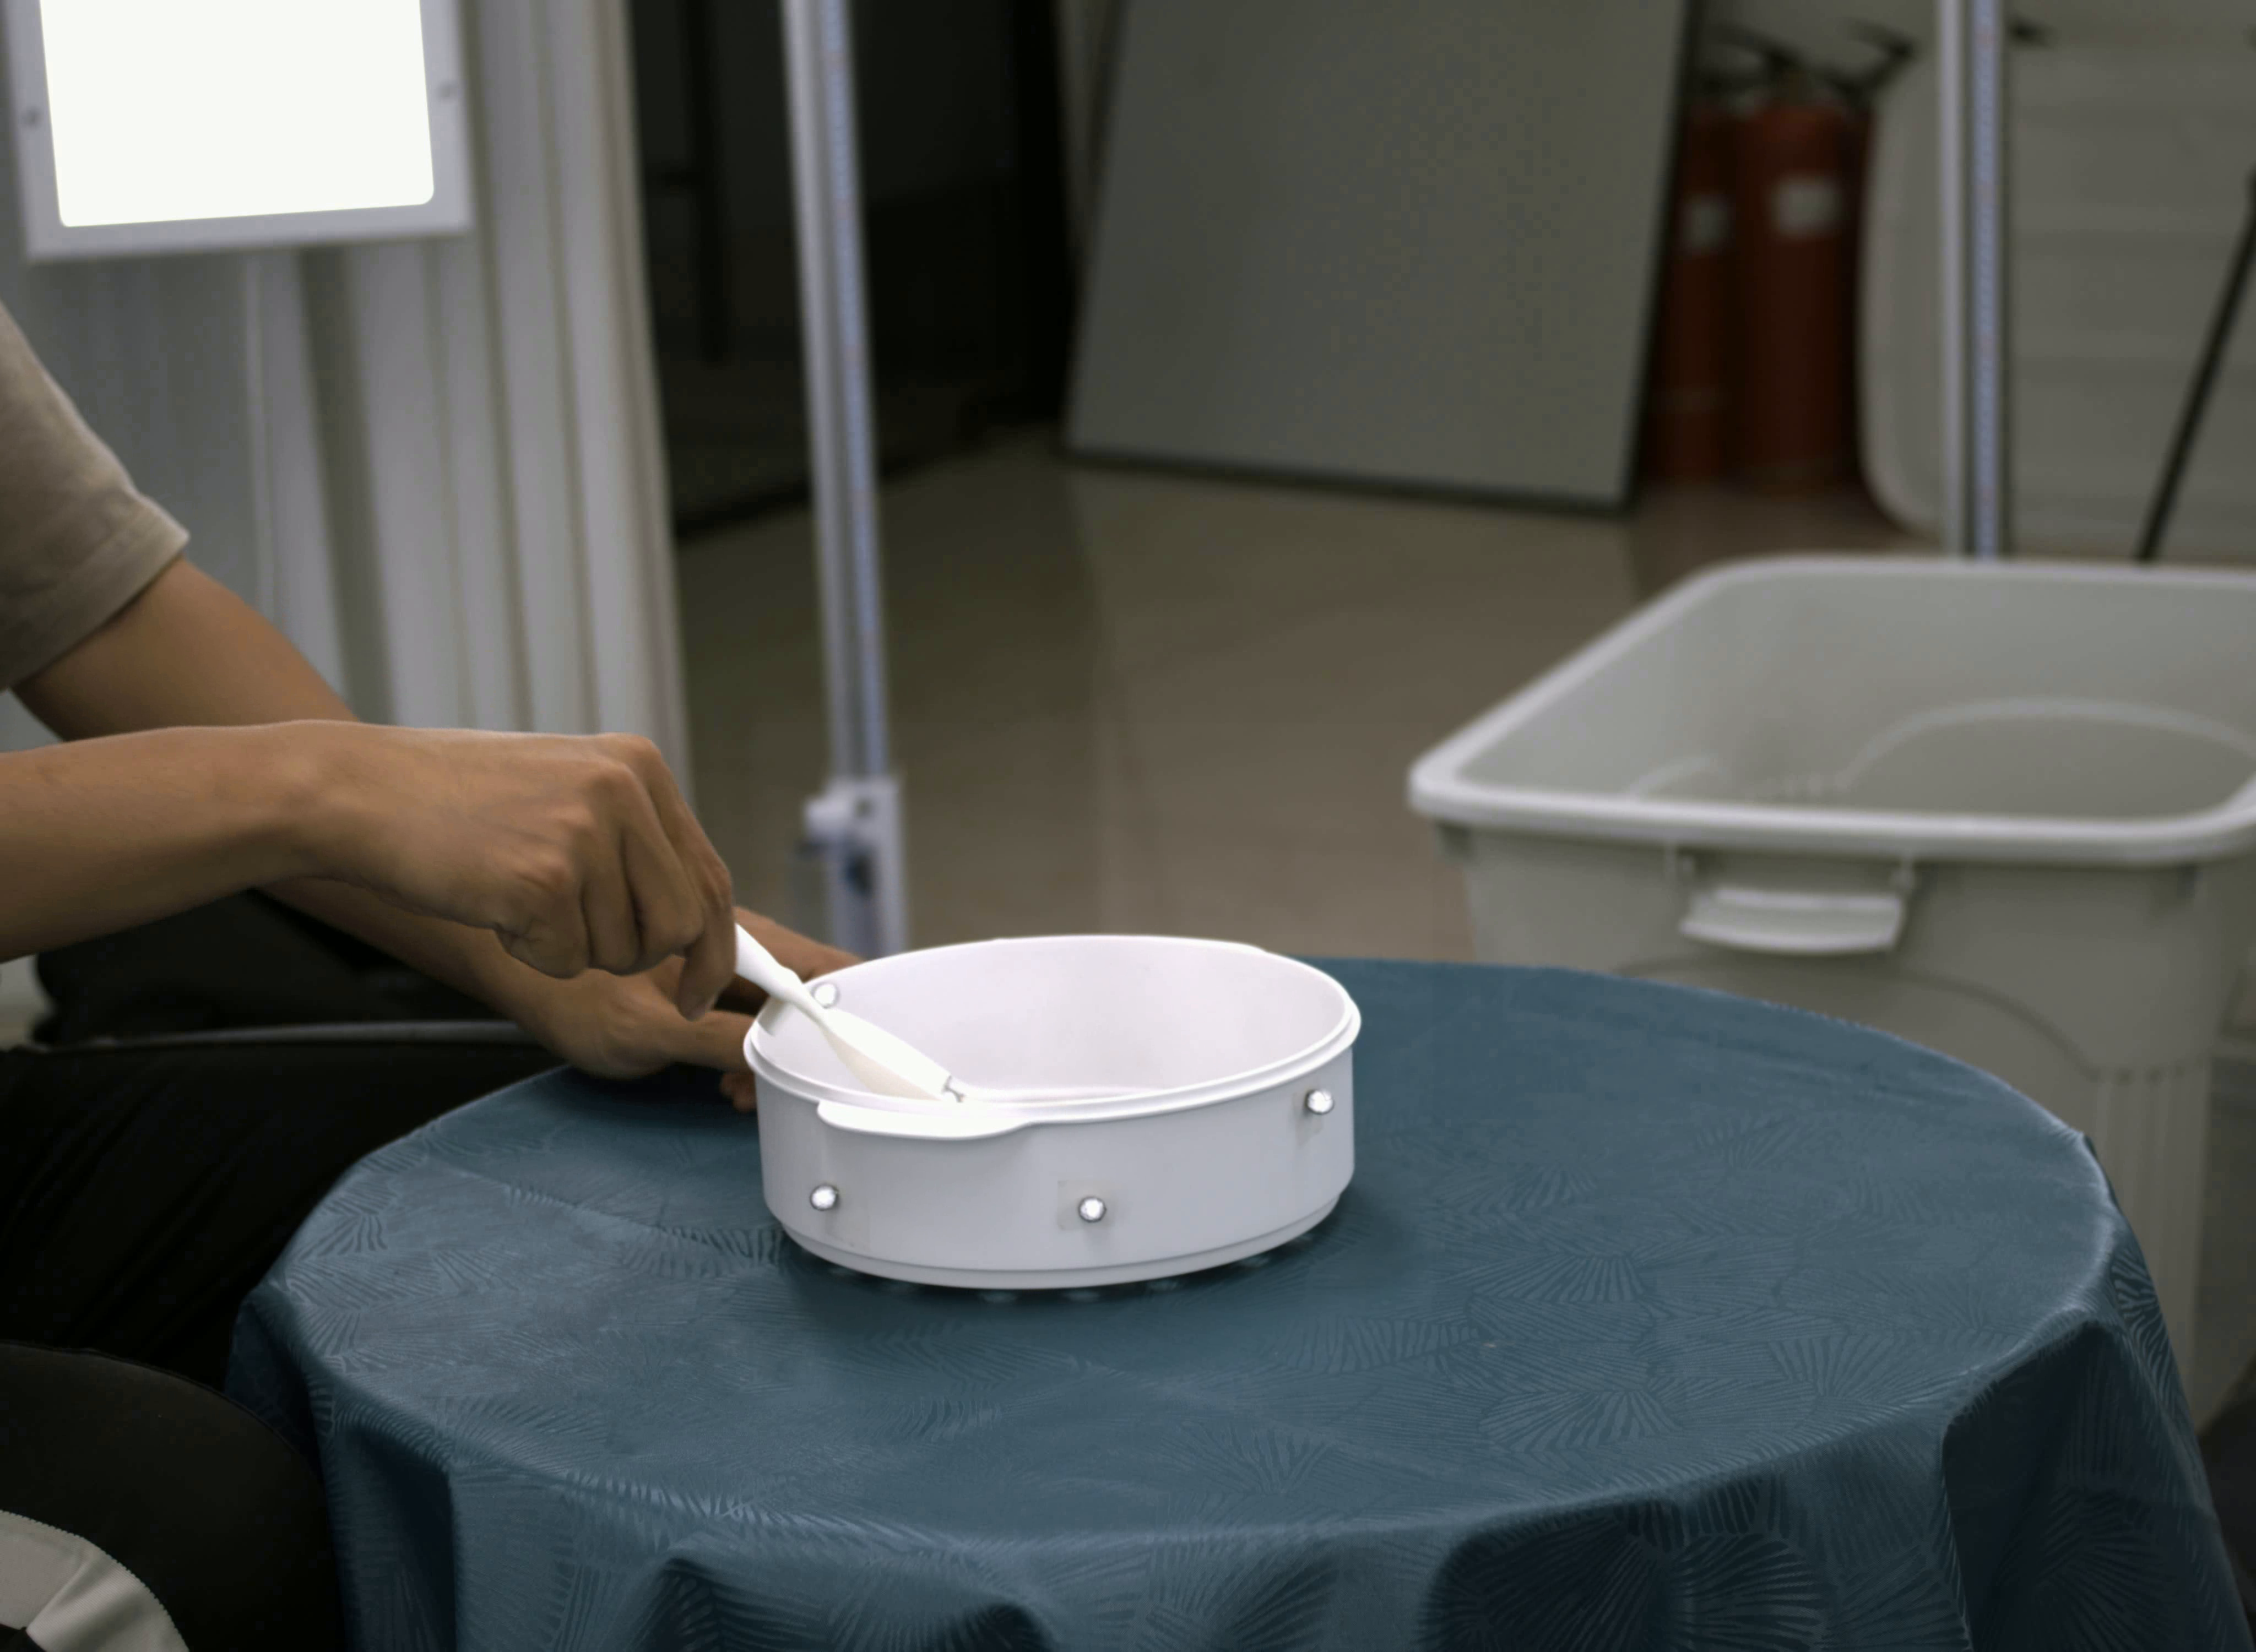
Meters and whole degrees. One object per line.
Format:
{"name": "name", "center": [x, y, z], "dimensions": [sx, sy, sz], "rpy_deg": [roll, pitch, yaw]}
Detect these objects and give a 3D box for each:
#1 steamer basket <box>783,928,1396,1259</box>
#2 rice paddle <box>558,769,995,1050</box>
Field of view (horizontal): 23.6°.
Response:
{"name": "steamer basket", "center": [-0.012, 0.087, 1.757], "dimensions": [0.202, 0.070, 0.227], "rpy_deg": [3, 13, 26]}
{"name": "rice paddle", "center": [-0.093, 0.043, 1.723], "dimensions": [0.202, 0.029, 0.069], "rpy_deg": [33, 3, -29]}
